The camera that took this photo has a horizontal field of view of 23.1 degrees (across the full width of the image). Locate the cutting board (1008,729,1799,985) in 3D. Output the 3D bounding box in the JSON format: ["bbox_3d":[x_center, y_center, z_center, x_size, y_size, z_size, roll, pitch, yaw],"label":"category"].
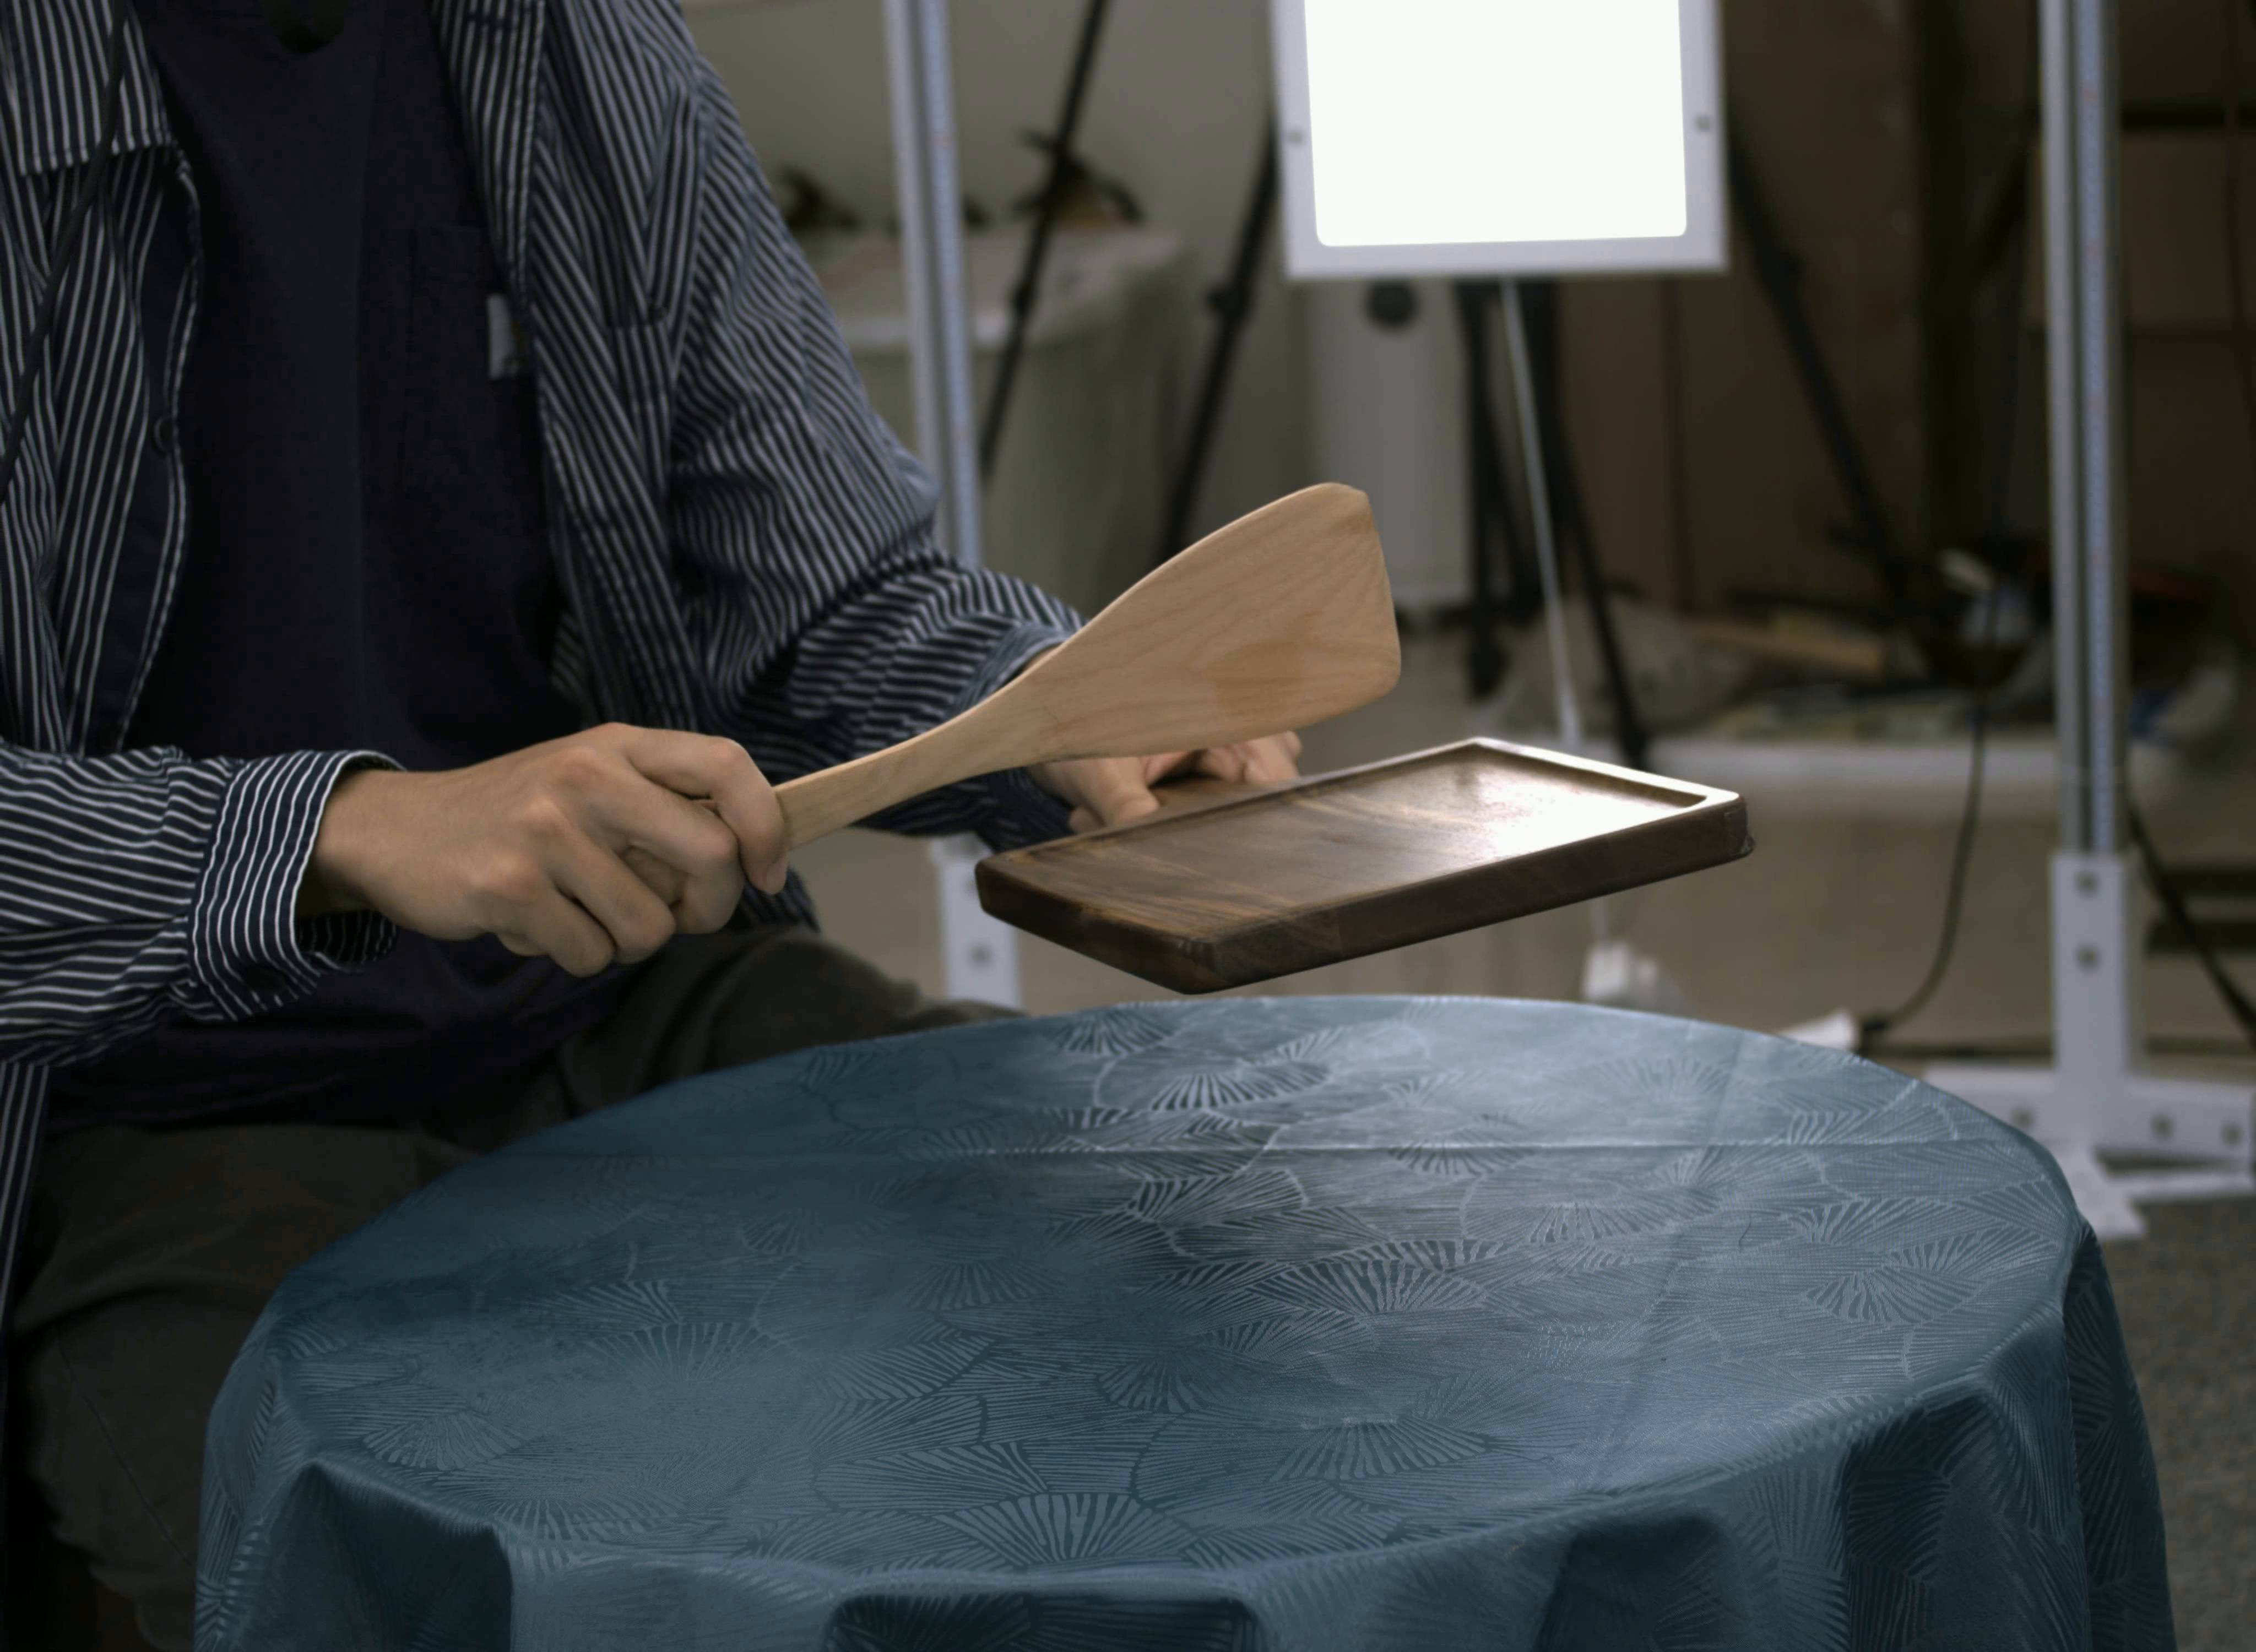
[{"bbox_3d":[0.072,0.003,1.866,0.198,0.023,0.356,-14,9,-14],"label":"cutting board"}]

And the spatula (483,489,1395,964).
[{"bbox_3d":[-0.063,-0.020,1.828,0.329,0.080,0.016,-21,22,10],"label":"spatula"}]
